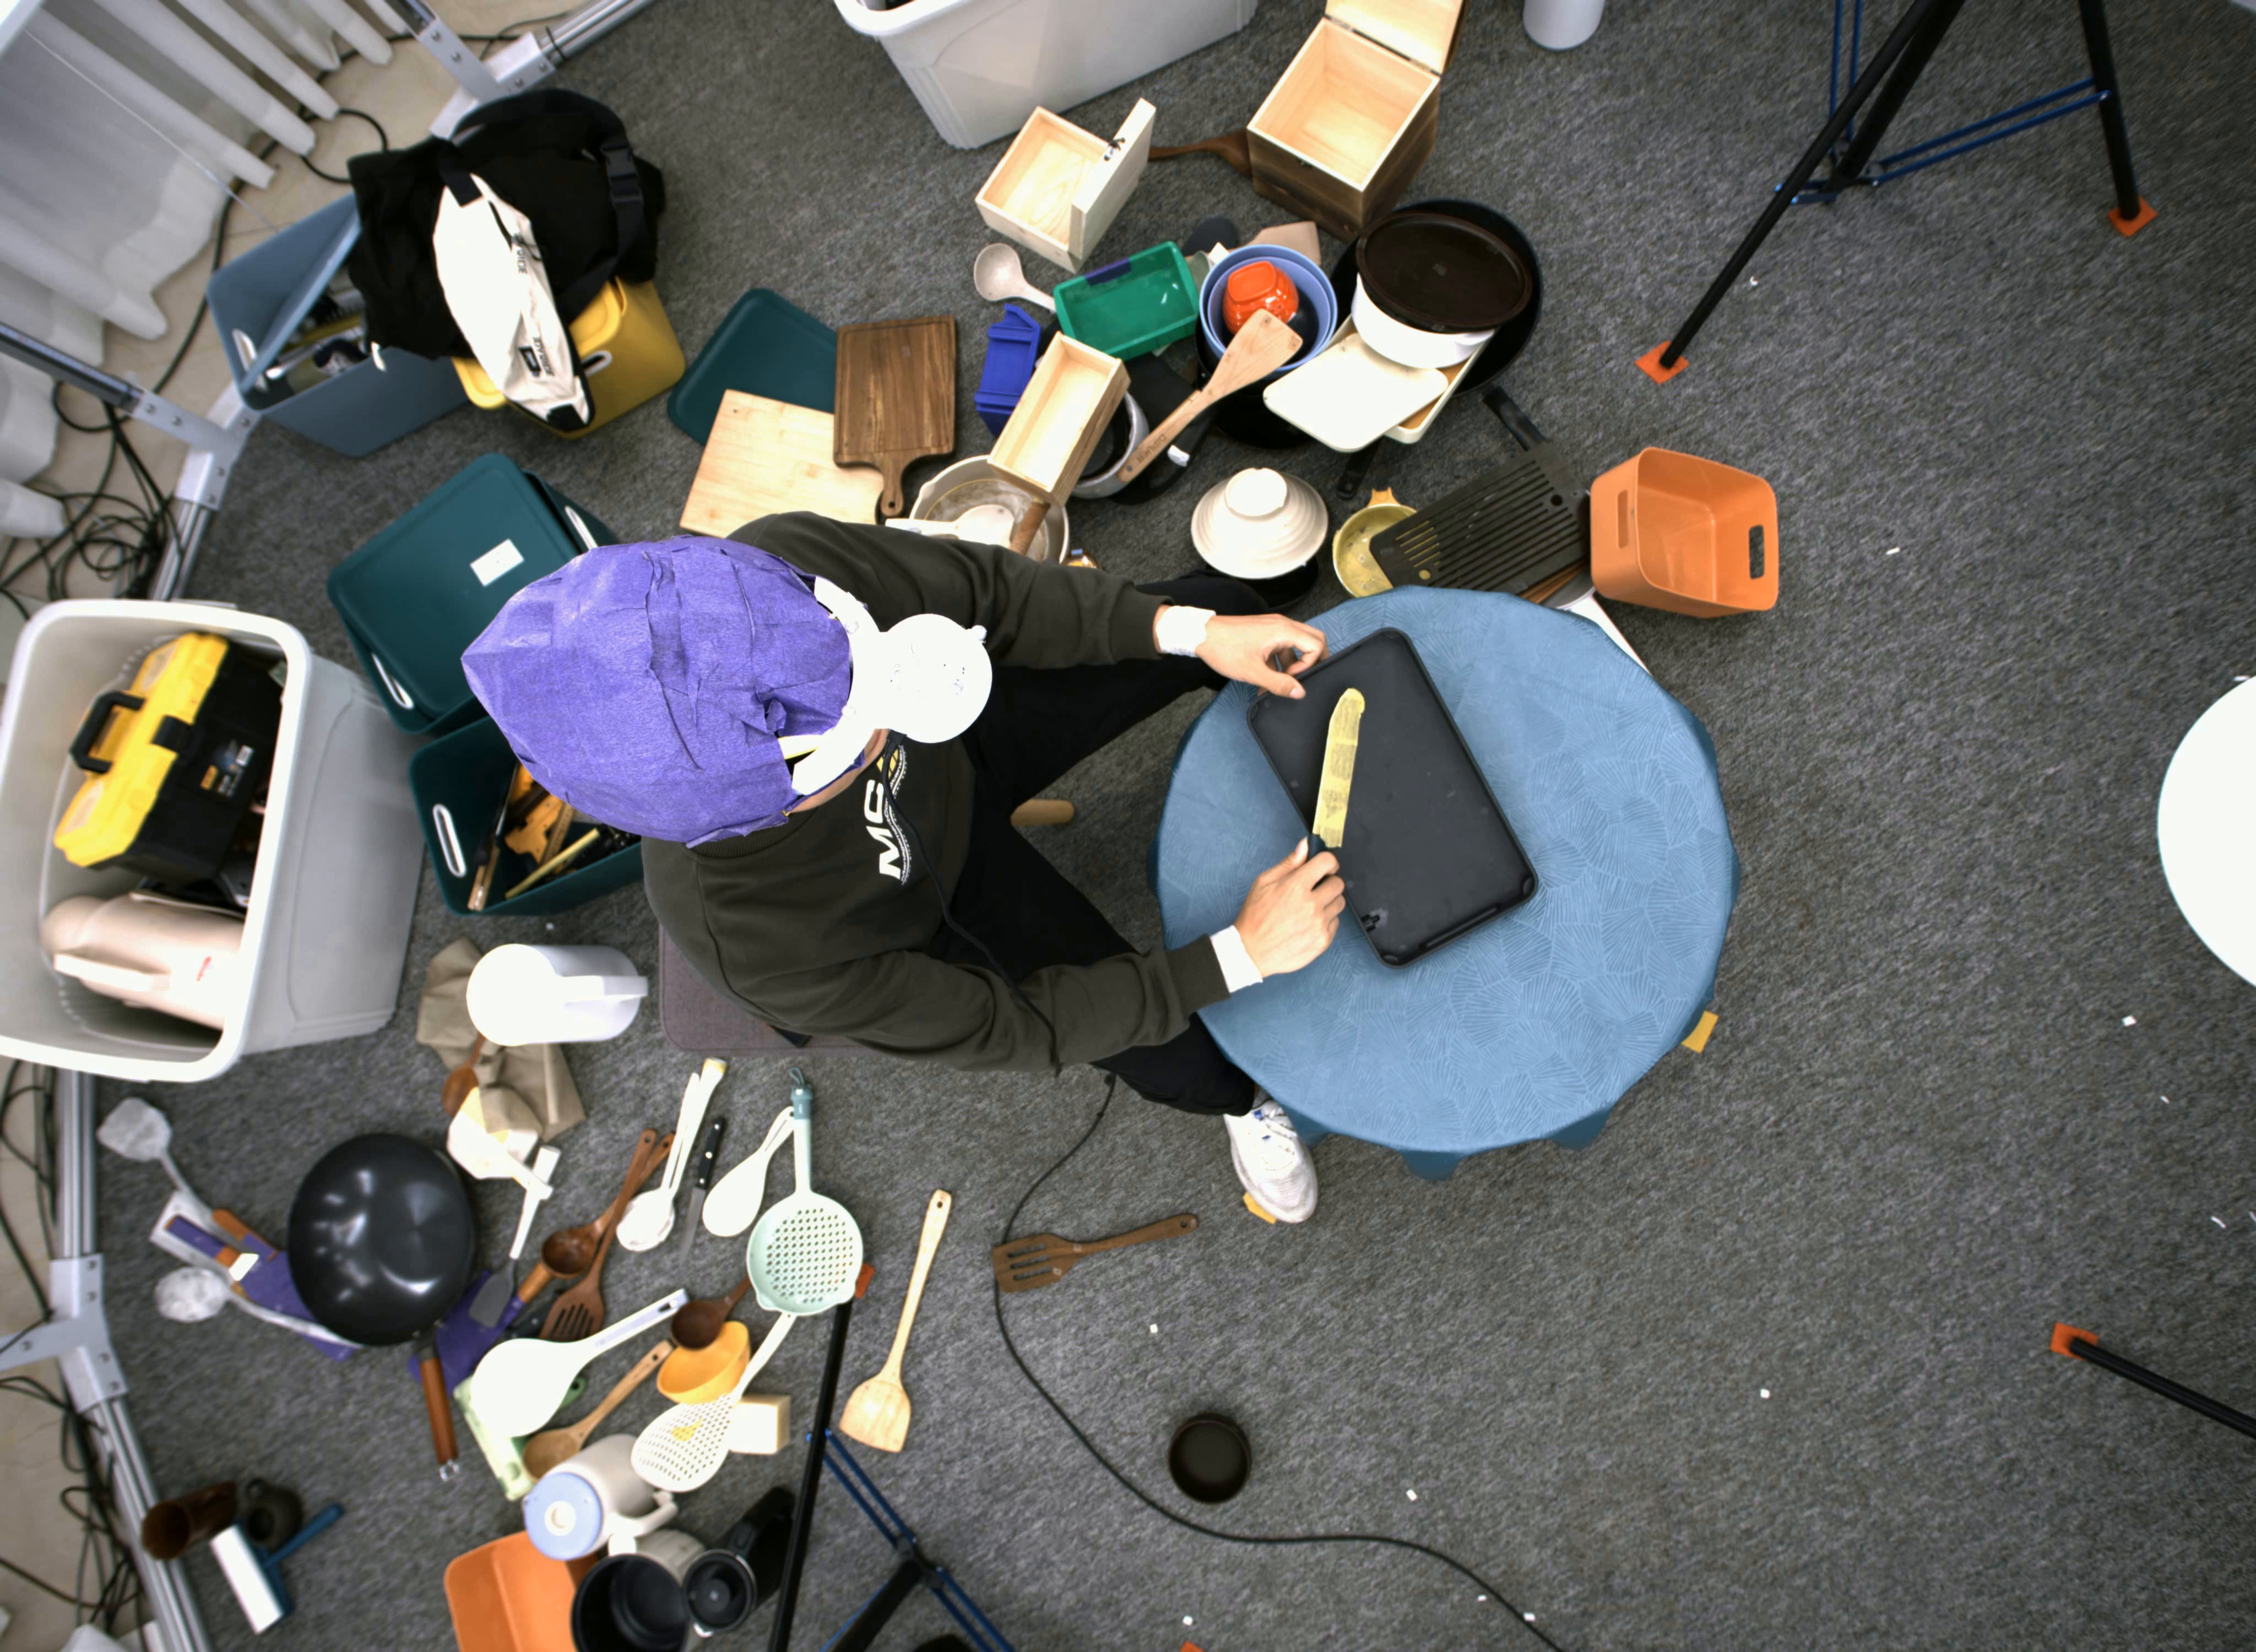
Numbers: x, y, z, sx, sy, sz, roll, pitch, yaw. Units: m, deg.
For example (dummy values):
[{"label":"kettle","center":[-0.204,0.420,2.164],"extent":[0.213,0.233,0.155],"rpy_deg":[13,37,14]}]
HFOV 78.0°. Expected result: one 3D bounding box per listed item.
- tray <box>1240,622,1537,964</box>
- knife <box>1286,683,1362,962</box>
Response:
[{"label":"tray","center":[0.266,-0.034,1.407],"extent":[0.185,0.036,0.319],"rpy_deg":[-30,97,9]},{"label":"knife","center":[0.201,-0.004,1.394],"extent":[0.027,0.080,0.291],"rpy_deg":[16,98,34]}]
